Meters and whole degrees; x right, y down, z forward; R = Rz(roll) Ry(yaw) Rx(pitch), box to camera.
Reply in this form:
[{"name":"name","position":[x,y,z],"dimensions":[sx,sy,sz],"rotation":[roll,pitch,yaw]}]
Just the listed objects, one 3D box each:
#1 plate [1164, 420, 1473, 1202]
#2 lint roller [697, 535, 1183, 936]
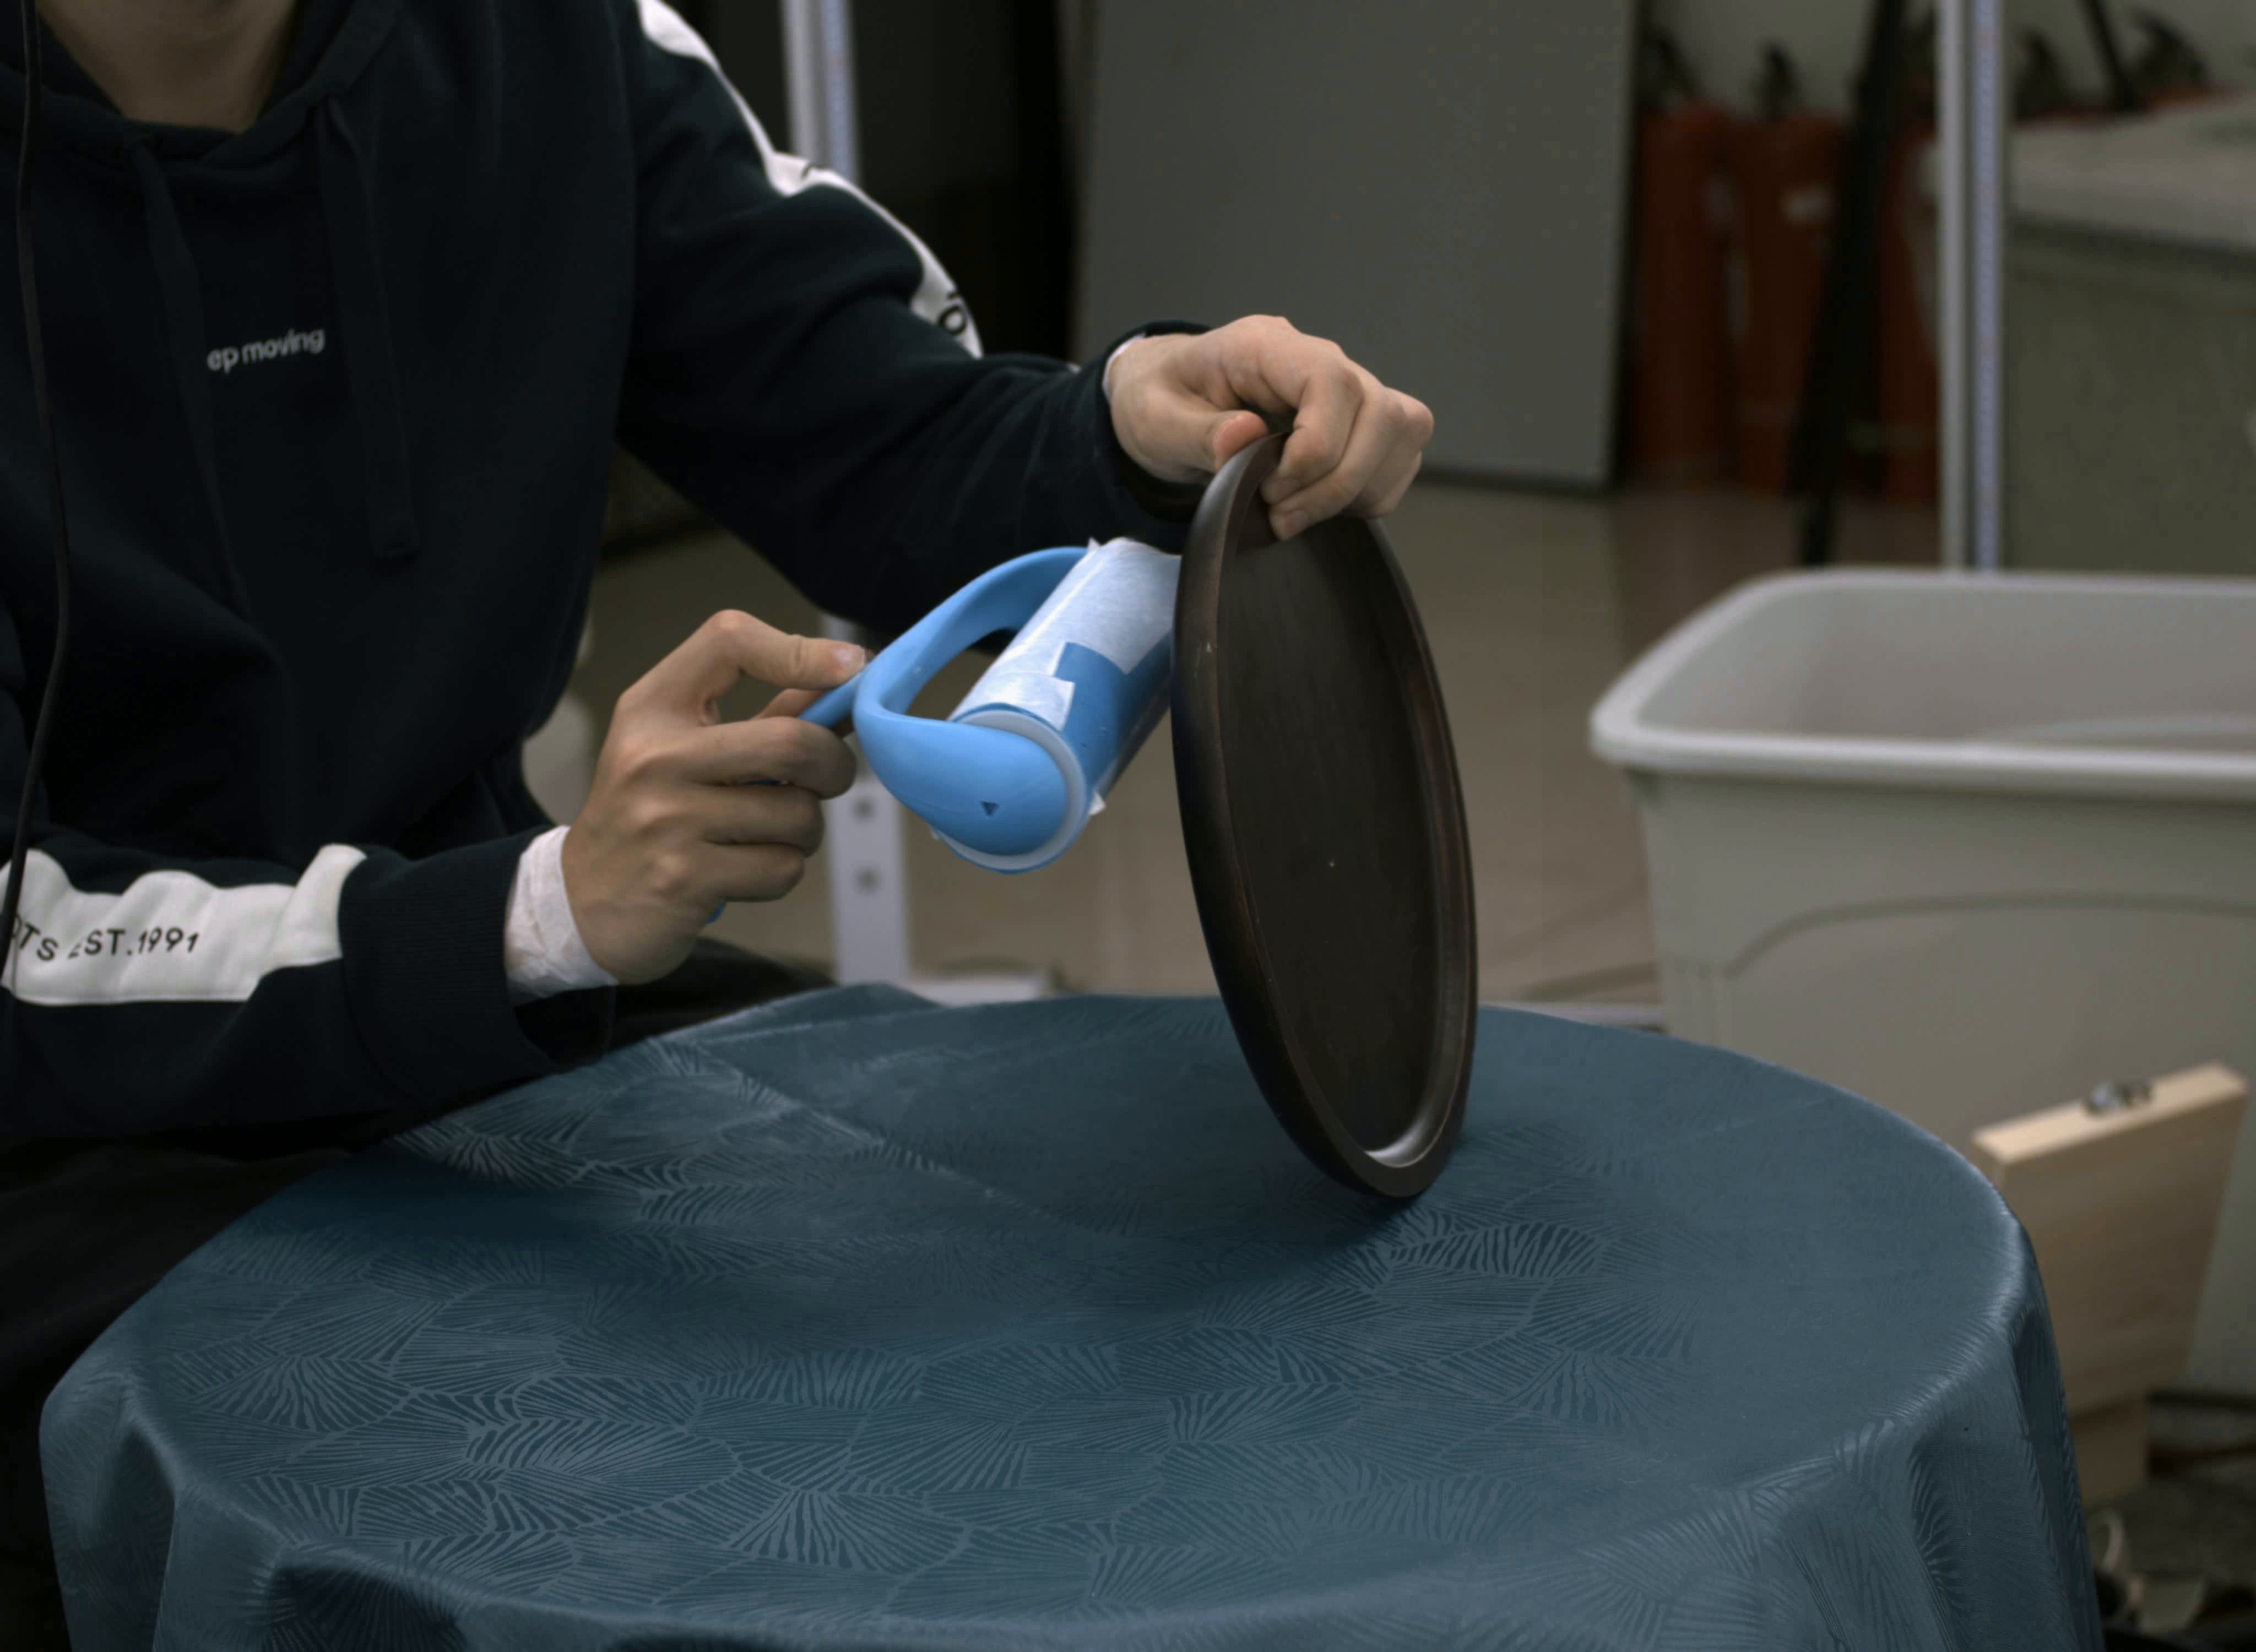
[{"name":"plate","position":[0.063,-0.004,1.743],"dimensions":[0.029,0.257,0.253],"rotation":[-10,11,18]},{"name":"lint roller","position":[-0.070,-0.024,1.724],"dimensions":[0.180,0.068,0.228],"rotation":[-22,12,16]}]
